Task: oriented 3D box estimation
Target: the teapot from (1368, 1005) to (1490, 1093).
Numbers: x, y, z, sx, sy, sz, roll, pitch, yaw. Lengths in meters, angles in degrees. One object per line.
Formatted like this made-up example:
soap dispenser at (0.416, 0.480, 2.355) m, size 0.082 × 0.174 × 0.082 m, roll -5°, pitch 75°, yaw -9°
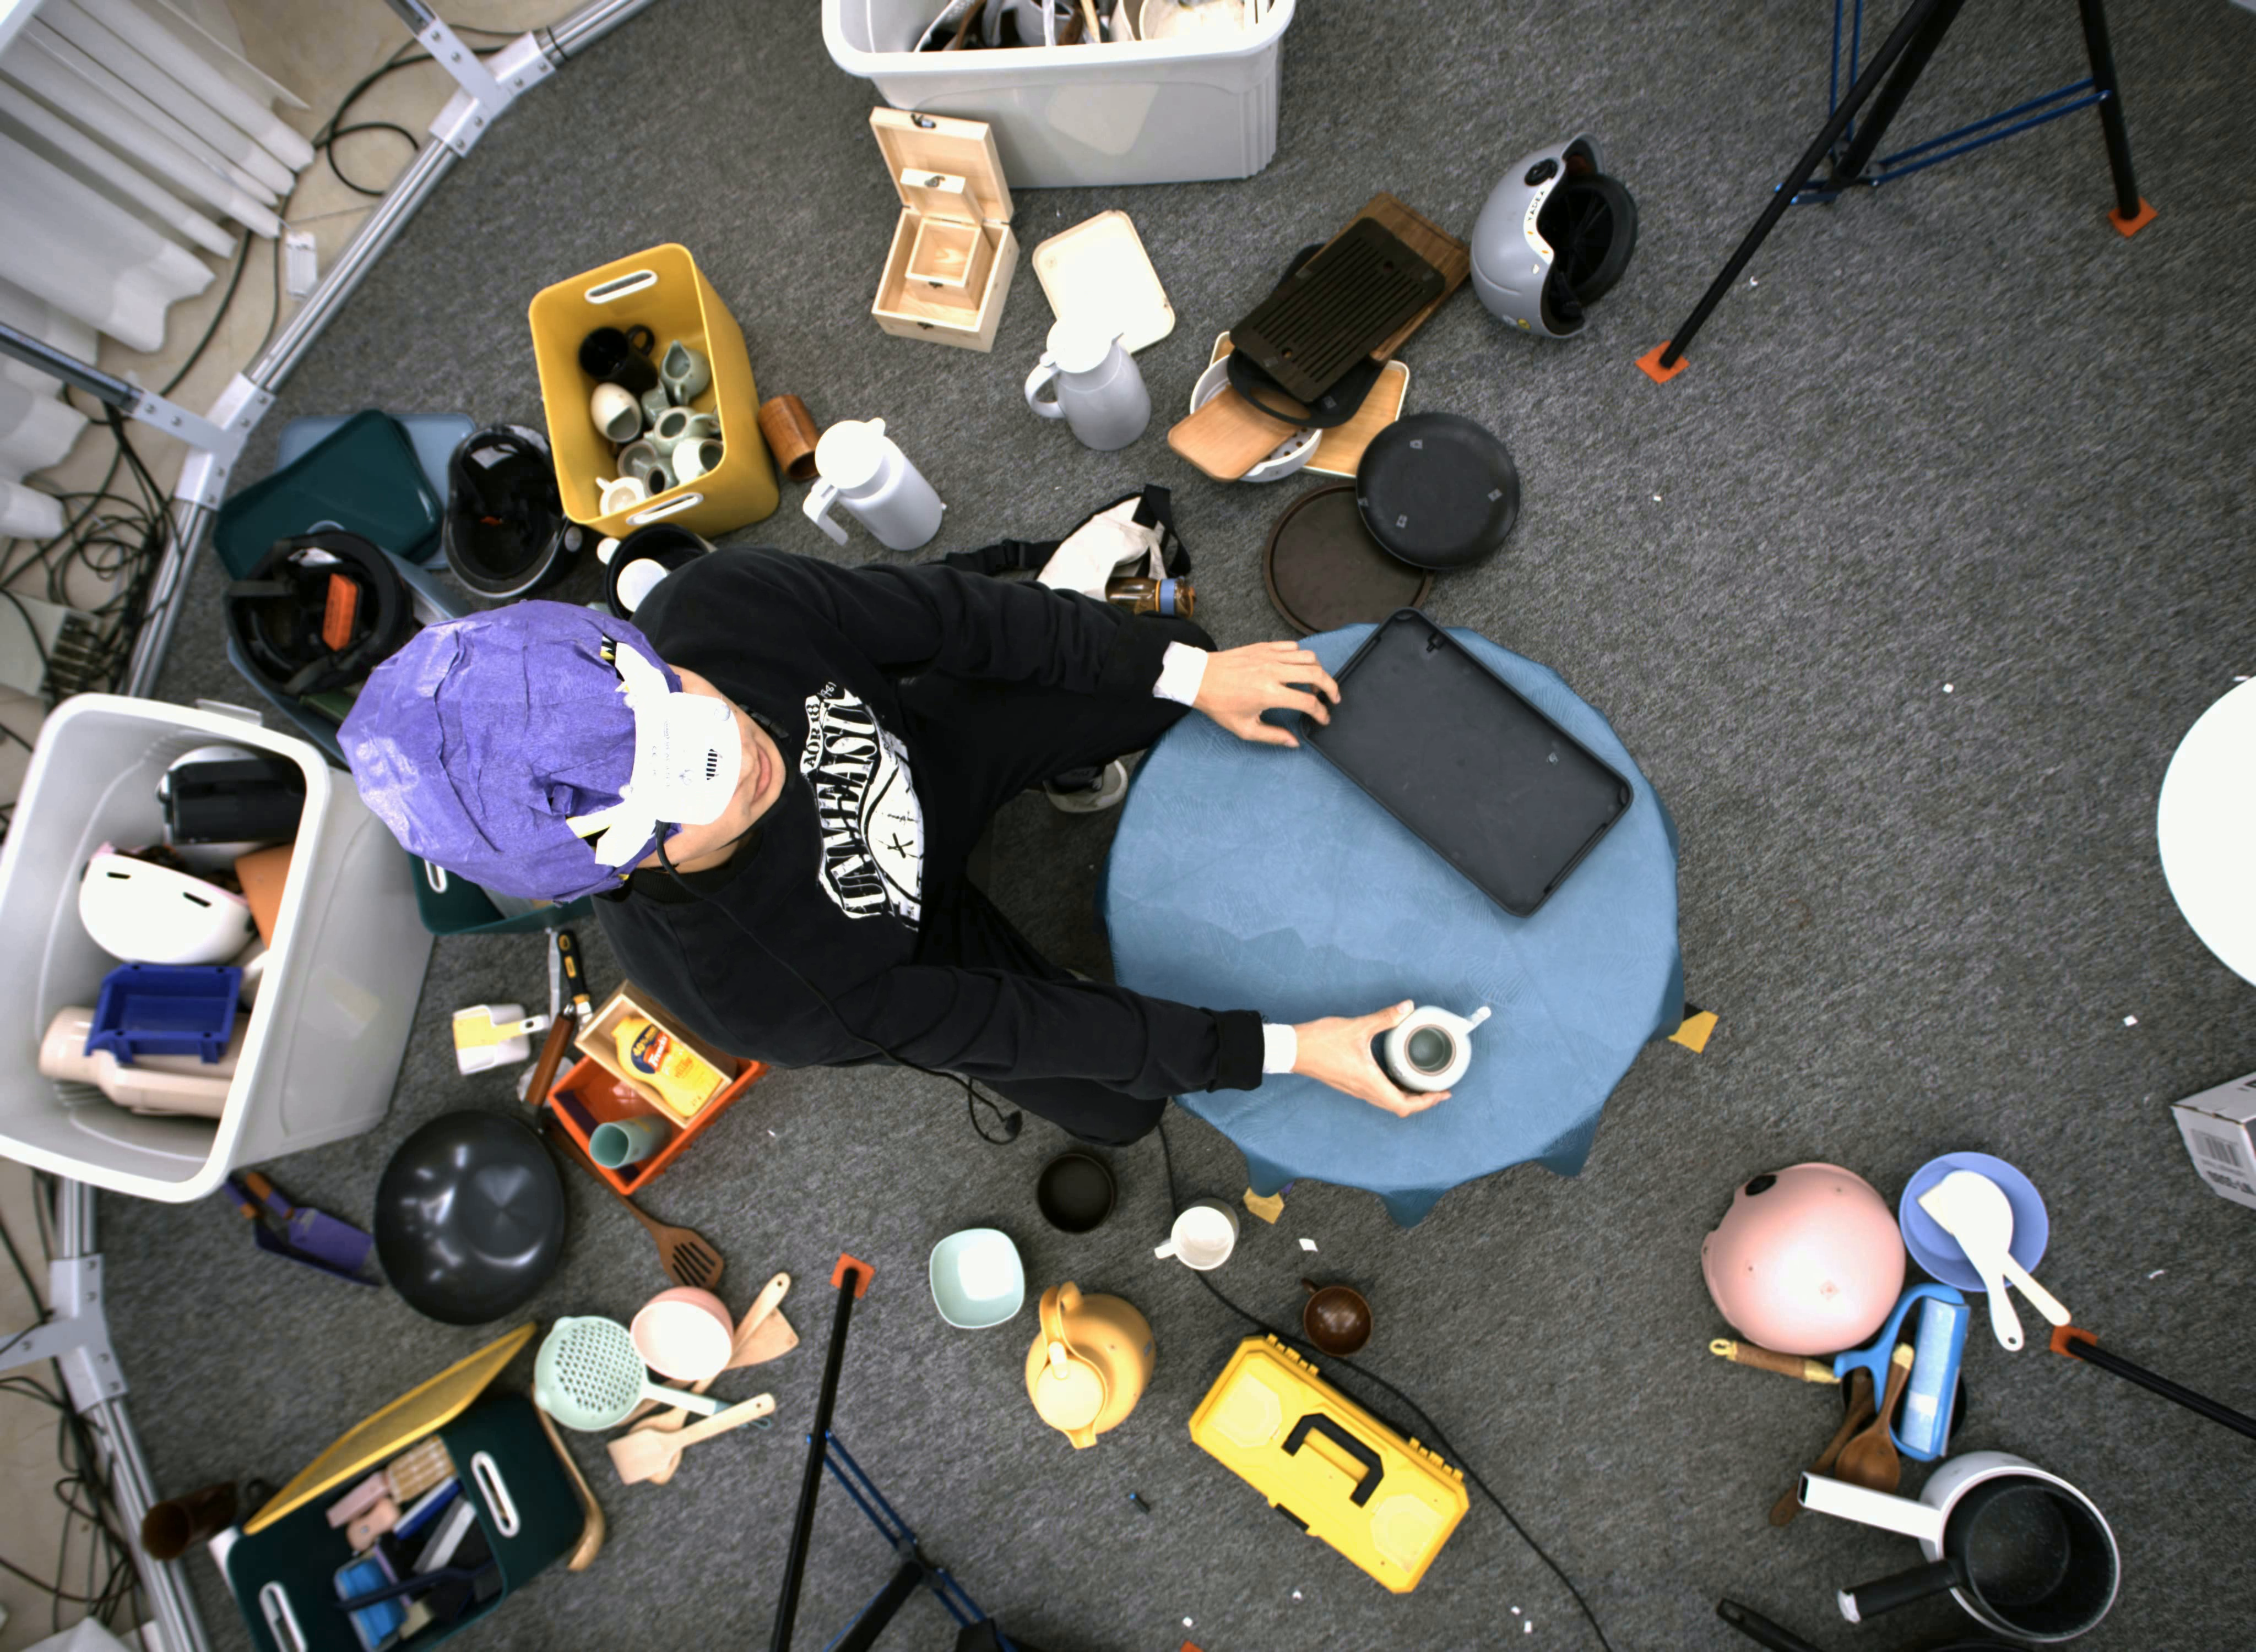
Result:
teapot at (0.304, 0.225, 1.409) m, size 0.144 × 0.075 × 0.088 m, roll -33°, pitch 82°, yaw 1°

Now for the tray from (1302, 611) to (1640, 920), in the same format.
tray at (0.354, -0.066, 1.434) m, size 0.317 × 0.037 × 0.185 m, roll 40°, pitch 94°, yaw 10°
